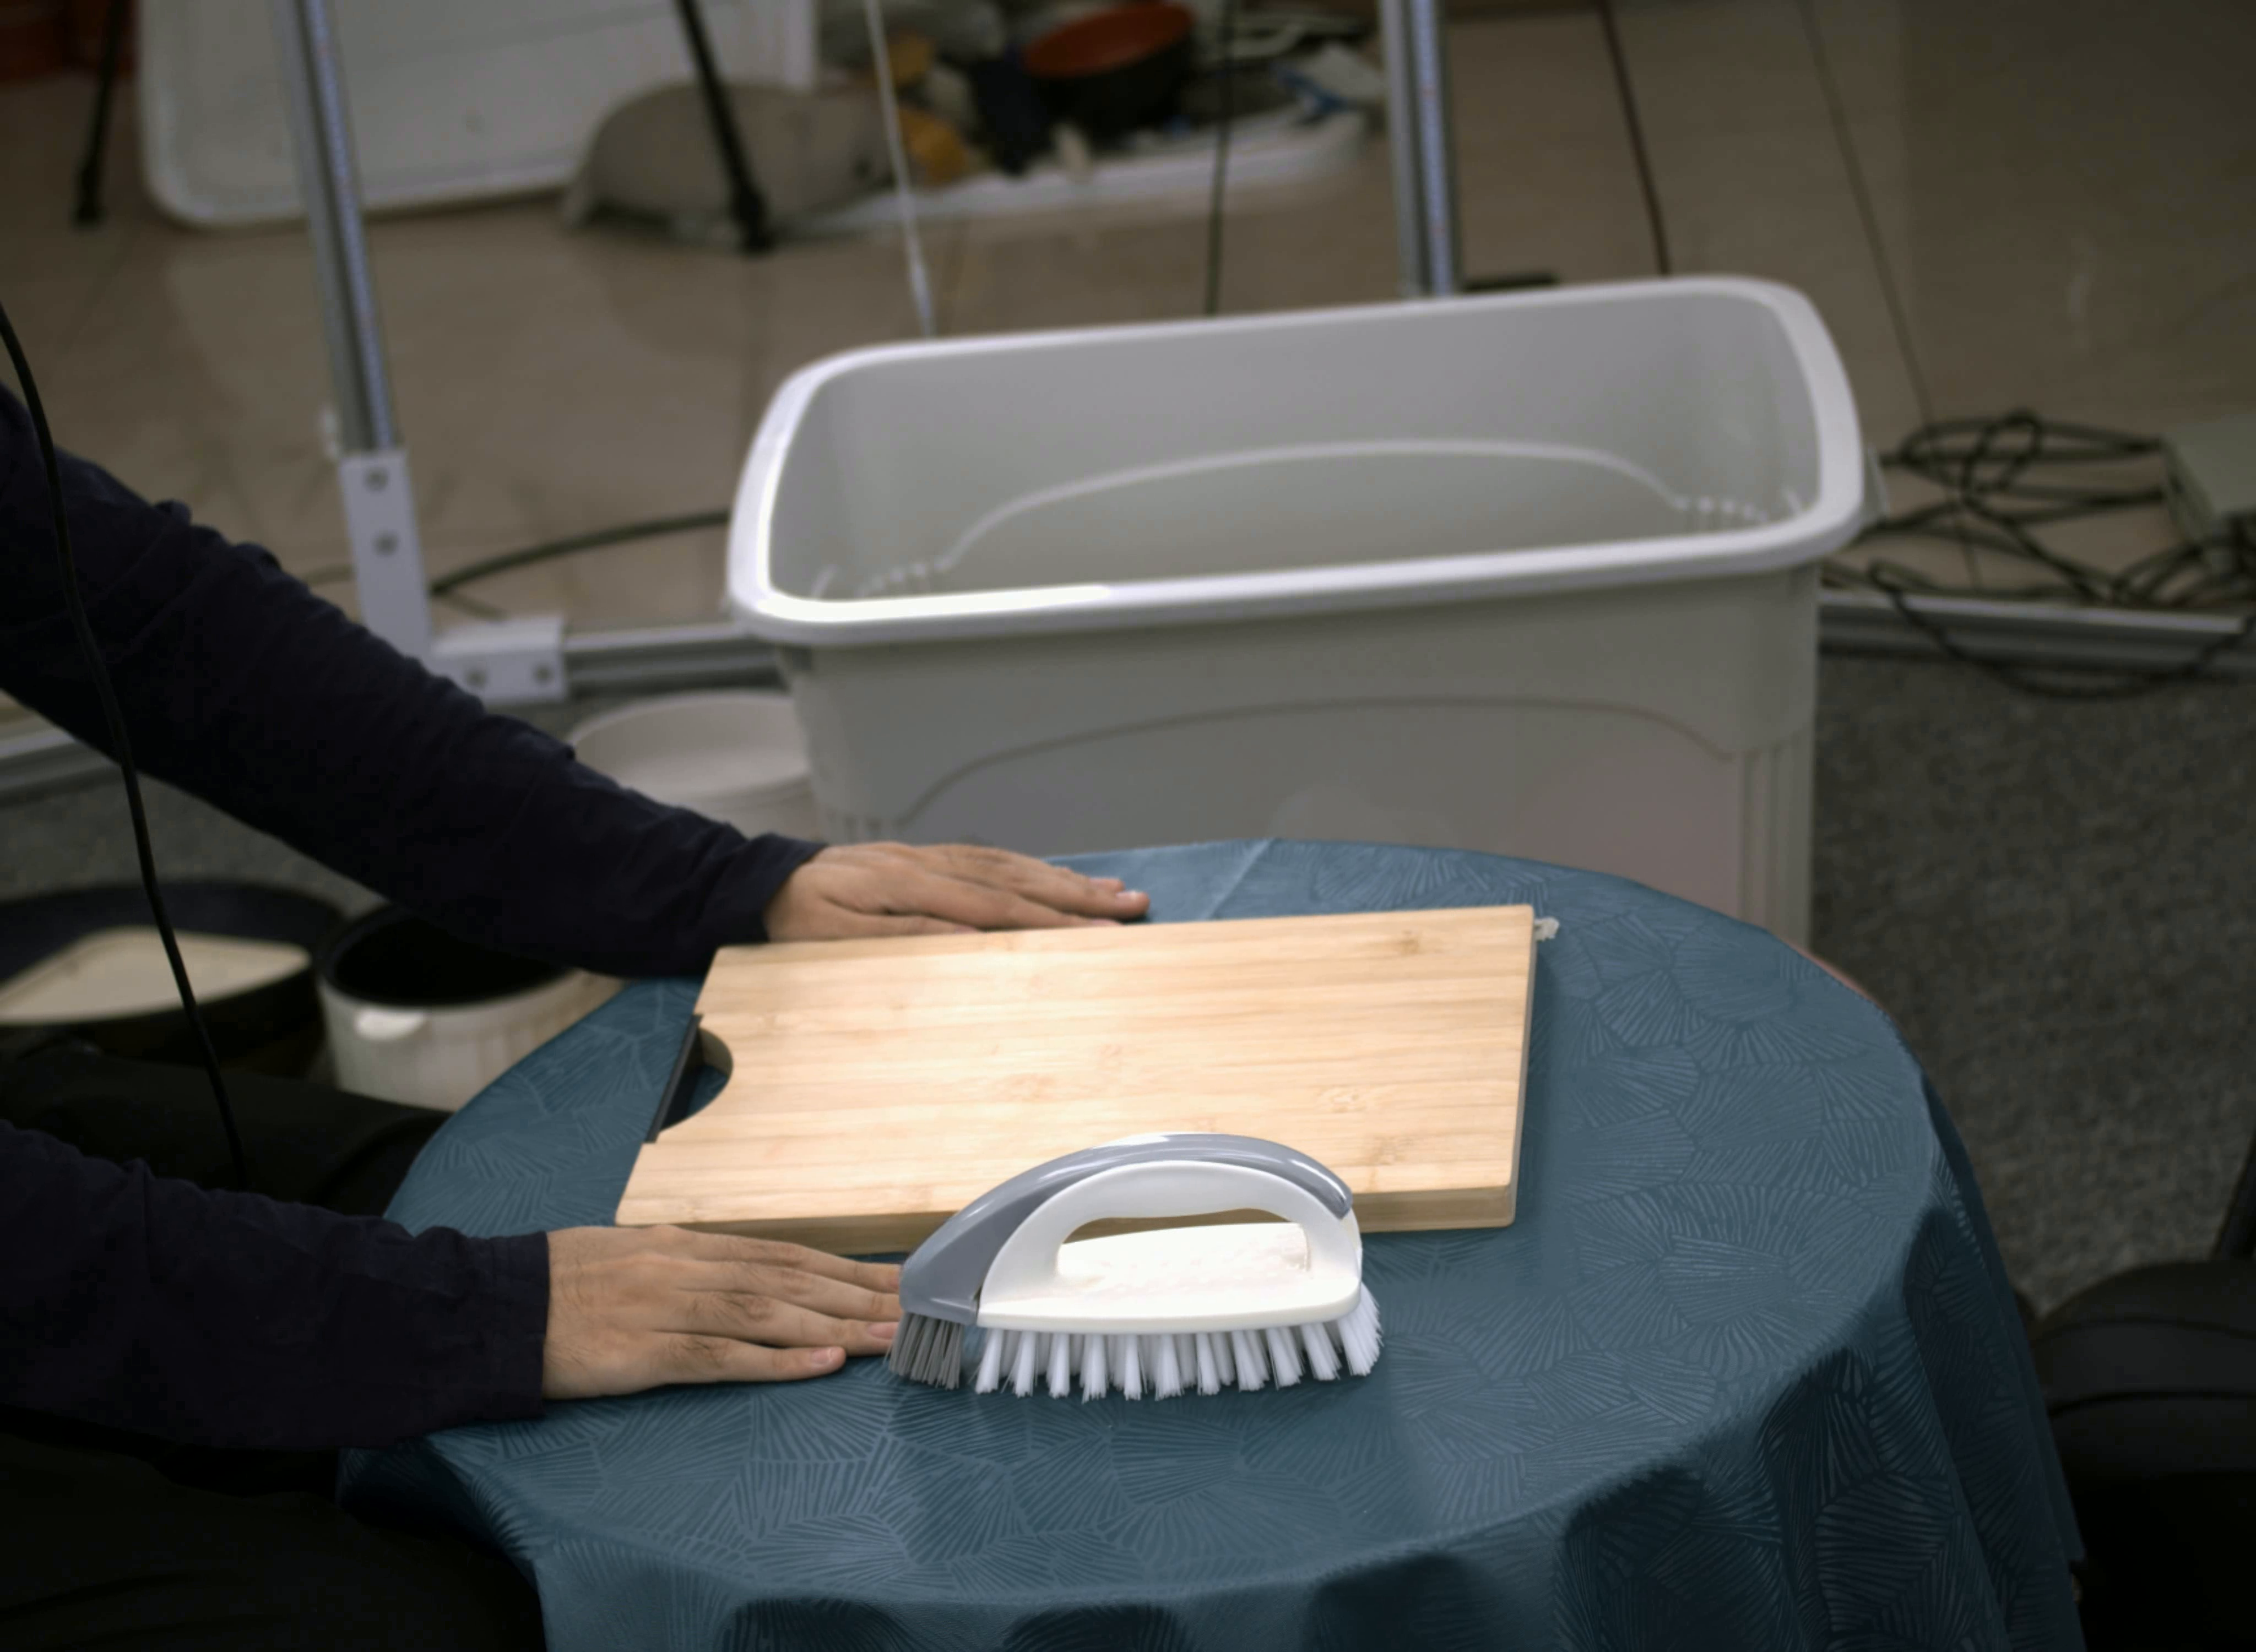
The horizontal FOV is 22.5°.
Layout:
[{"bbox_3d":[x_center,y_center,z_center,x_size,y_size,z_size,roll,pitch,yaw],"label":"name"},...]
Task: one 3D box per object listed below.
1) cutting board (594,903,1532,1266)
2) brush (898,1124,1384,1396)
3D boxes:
[{"bbox_3d":[-0.018,0.100,2.219,0.348,0.024,0.247,-3,24,7],"label":"cutting board"},{"bbox_3d":[-0.001,0.153,2.008,0.175,0.096,0.060,-6,26,7],"label":"brush"}]
